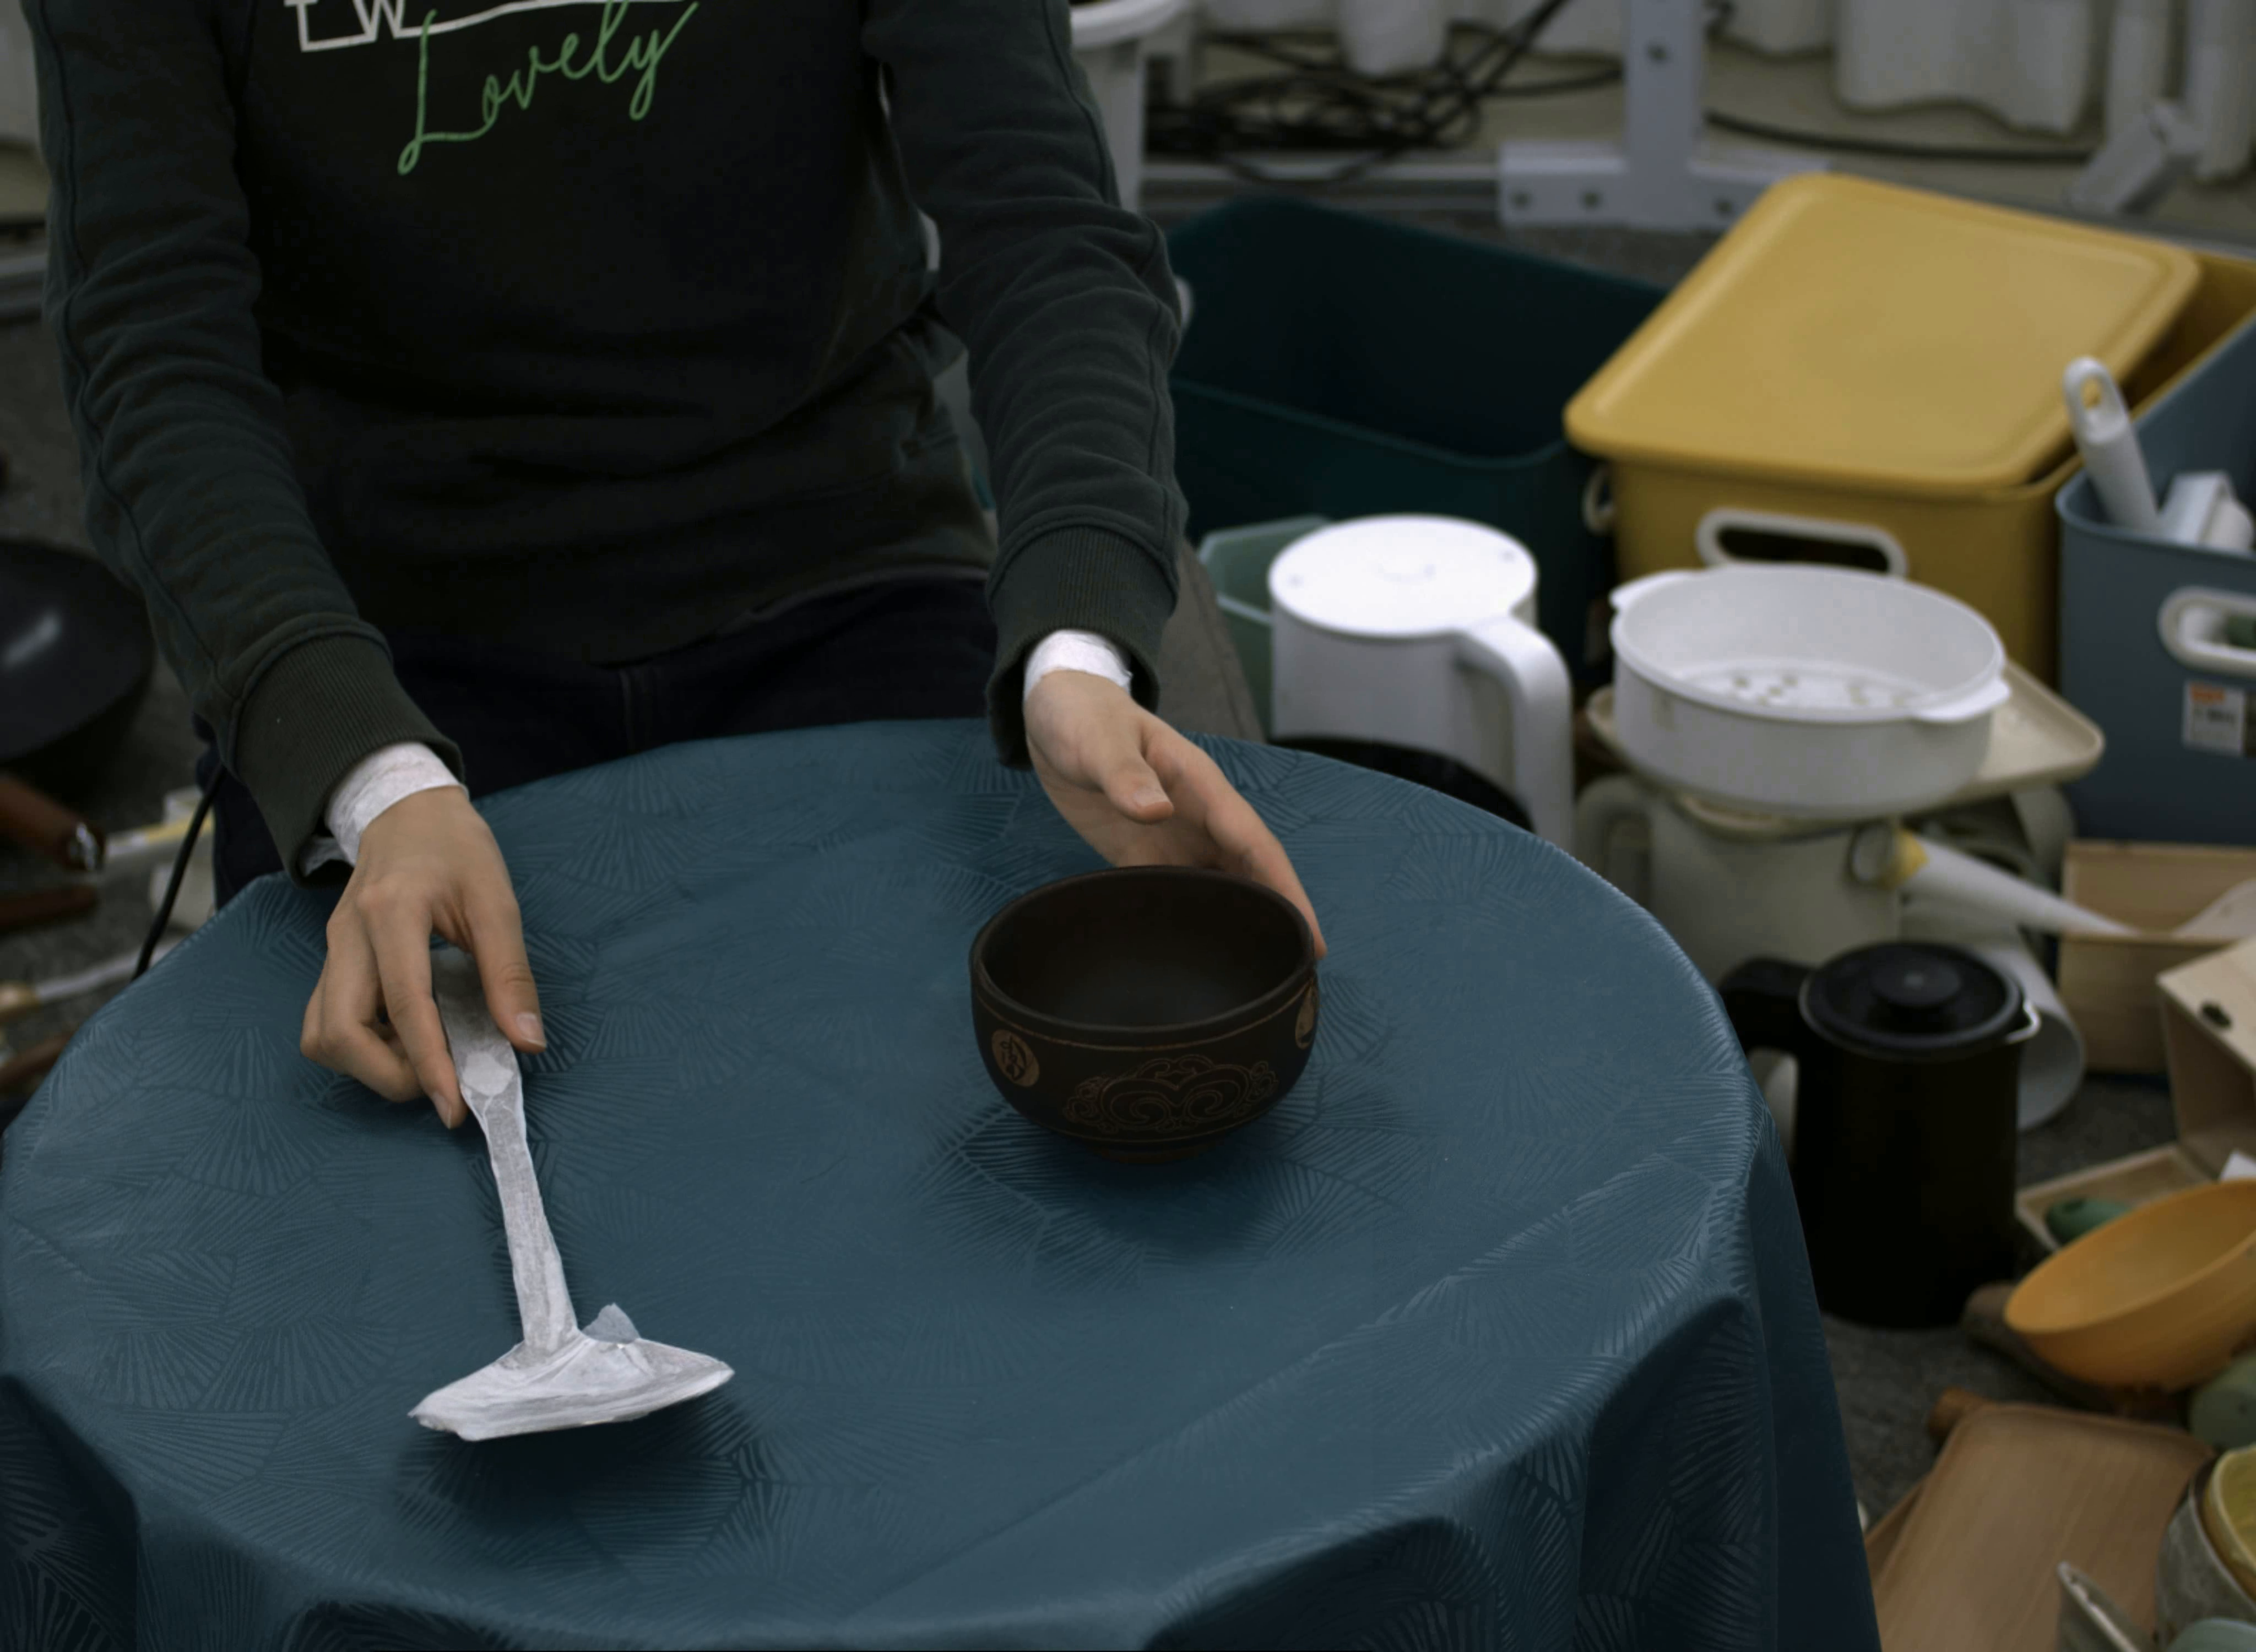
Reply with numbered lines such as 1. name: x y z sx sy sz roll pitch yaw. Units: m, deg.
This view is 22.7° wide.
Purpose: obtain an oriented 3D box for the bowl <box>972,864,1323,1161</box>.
1. bowl: 0.007 0.069 1.886 0.117 0.069 0.120 -1 26 1

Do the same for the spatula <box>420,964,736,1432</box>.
1. spatula: -0.198 0.115 1.853 0.098 0.044 0.369 -9 28 -8
